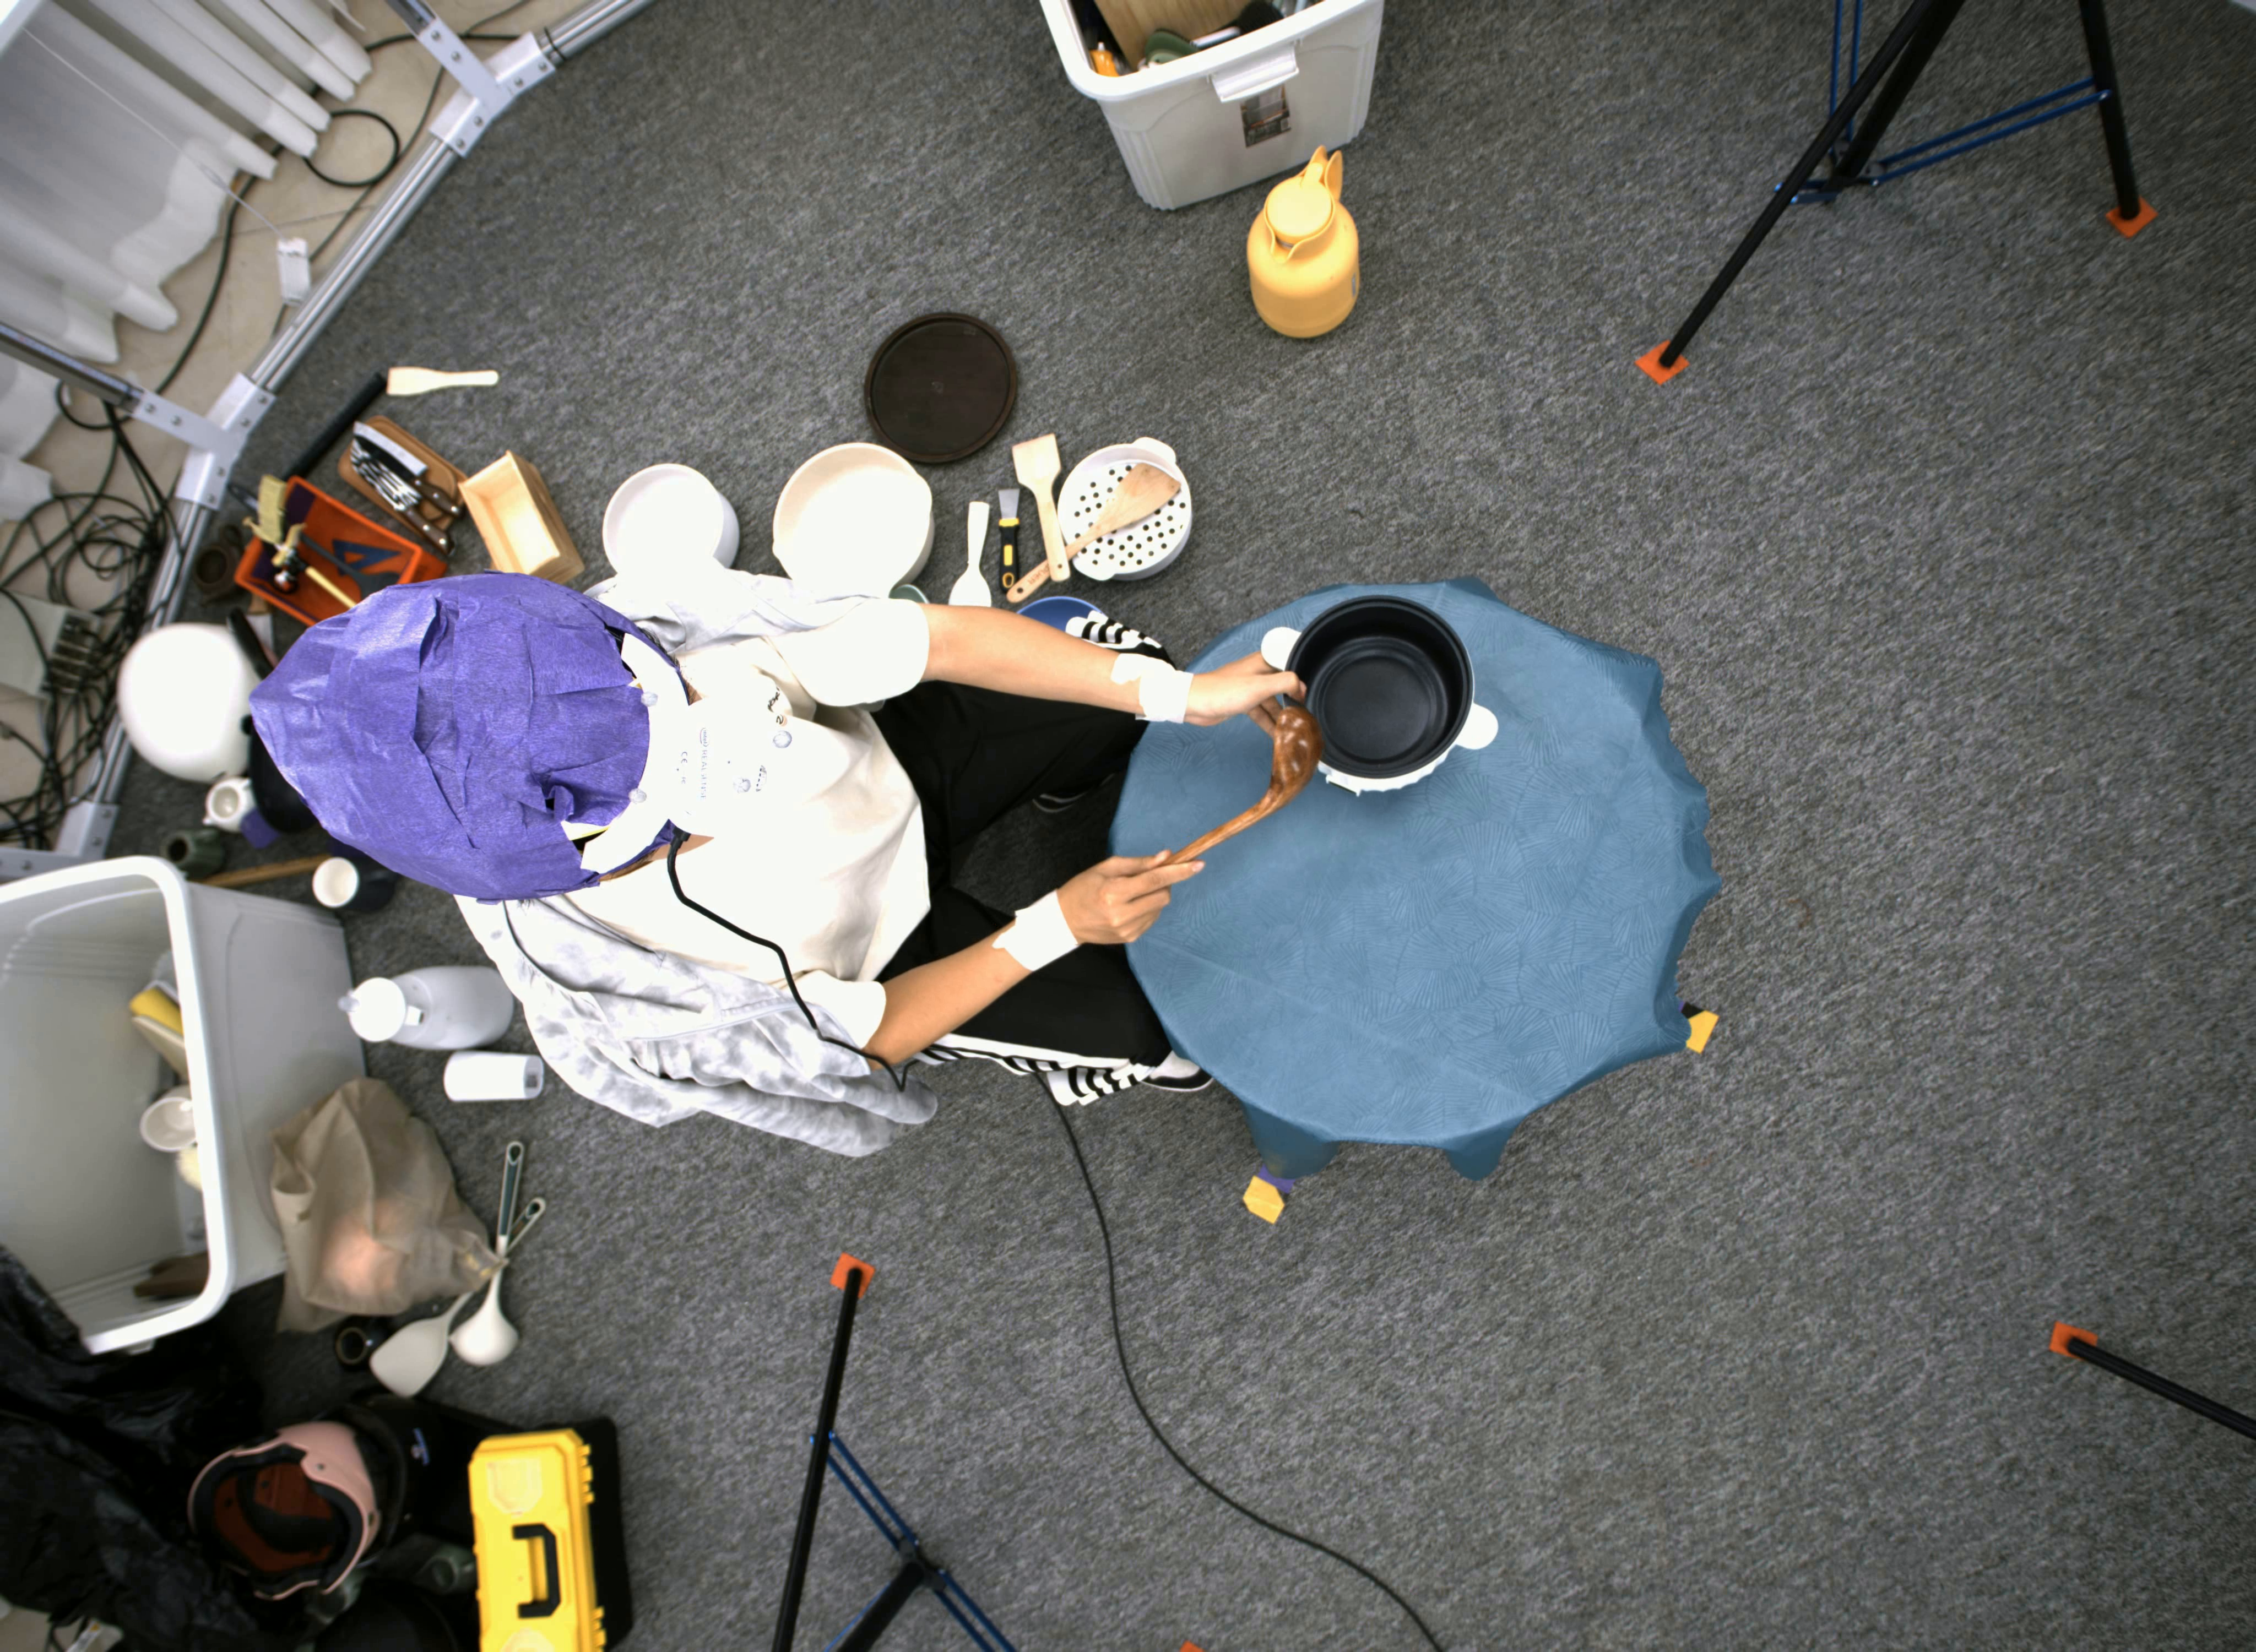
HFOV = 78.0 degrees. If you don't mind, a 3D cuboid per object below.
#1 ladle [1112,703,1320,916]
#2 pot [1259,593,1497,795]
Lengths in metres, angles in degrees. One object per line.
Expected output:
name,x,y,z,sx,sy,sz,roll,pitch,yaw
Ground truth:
ladle,0.072,-0.015,1.314,0.279,0.081,0.076,-36,73,27
pot,0.249,-0.133,1.372,0.240,0.142,0.191,24,92,11
